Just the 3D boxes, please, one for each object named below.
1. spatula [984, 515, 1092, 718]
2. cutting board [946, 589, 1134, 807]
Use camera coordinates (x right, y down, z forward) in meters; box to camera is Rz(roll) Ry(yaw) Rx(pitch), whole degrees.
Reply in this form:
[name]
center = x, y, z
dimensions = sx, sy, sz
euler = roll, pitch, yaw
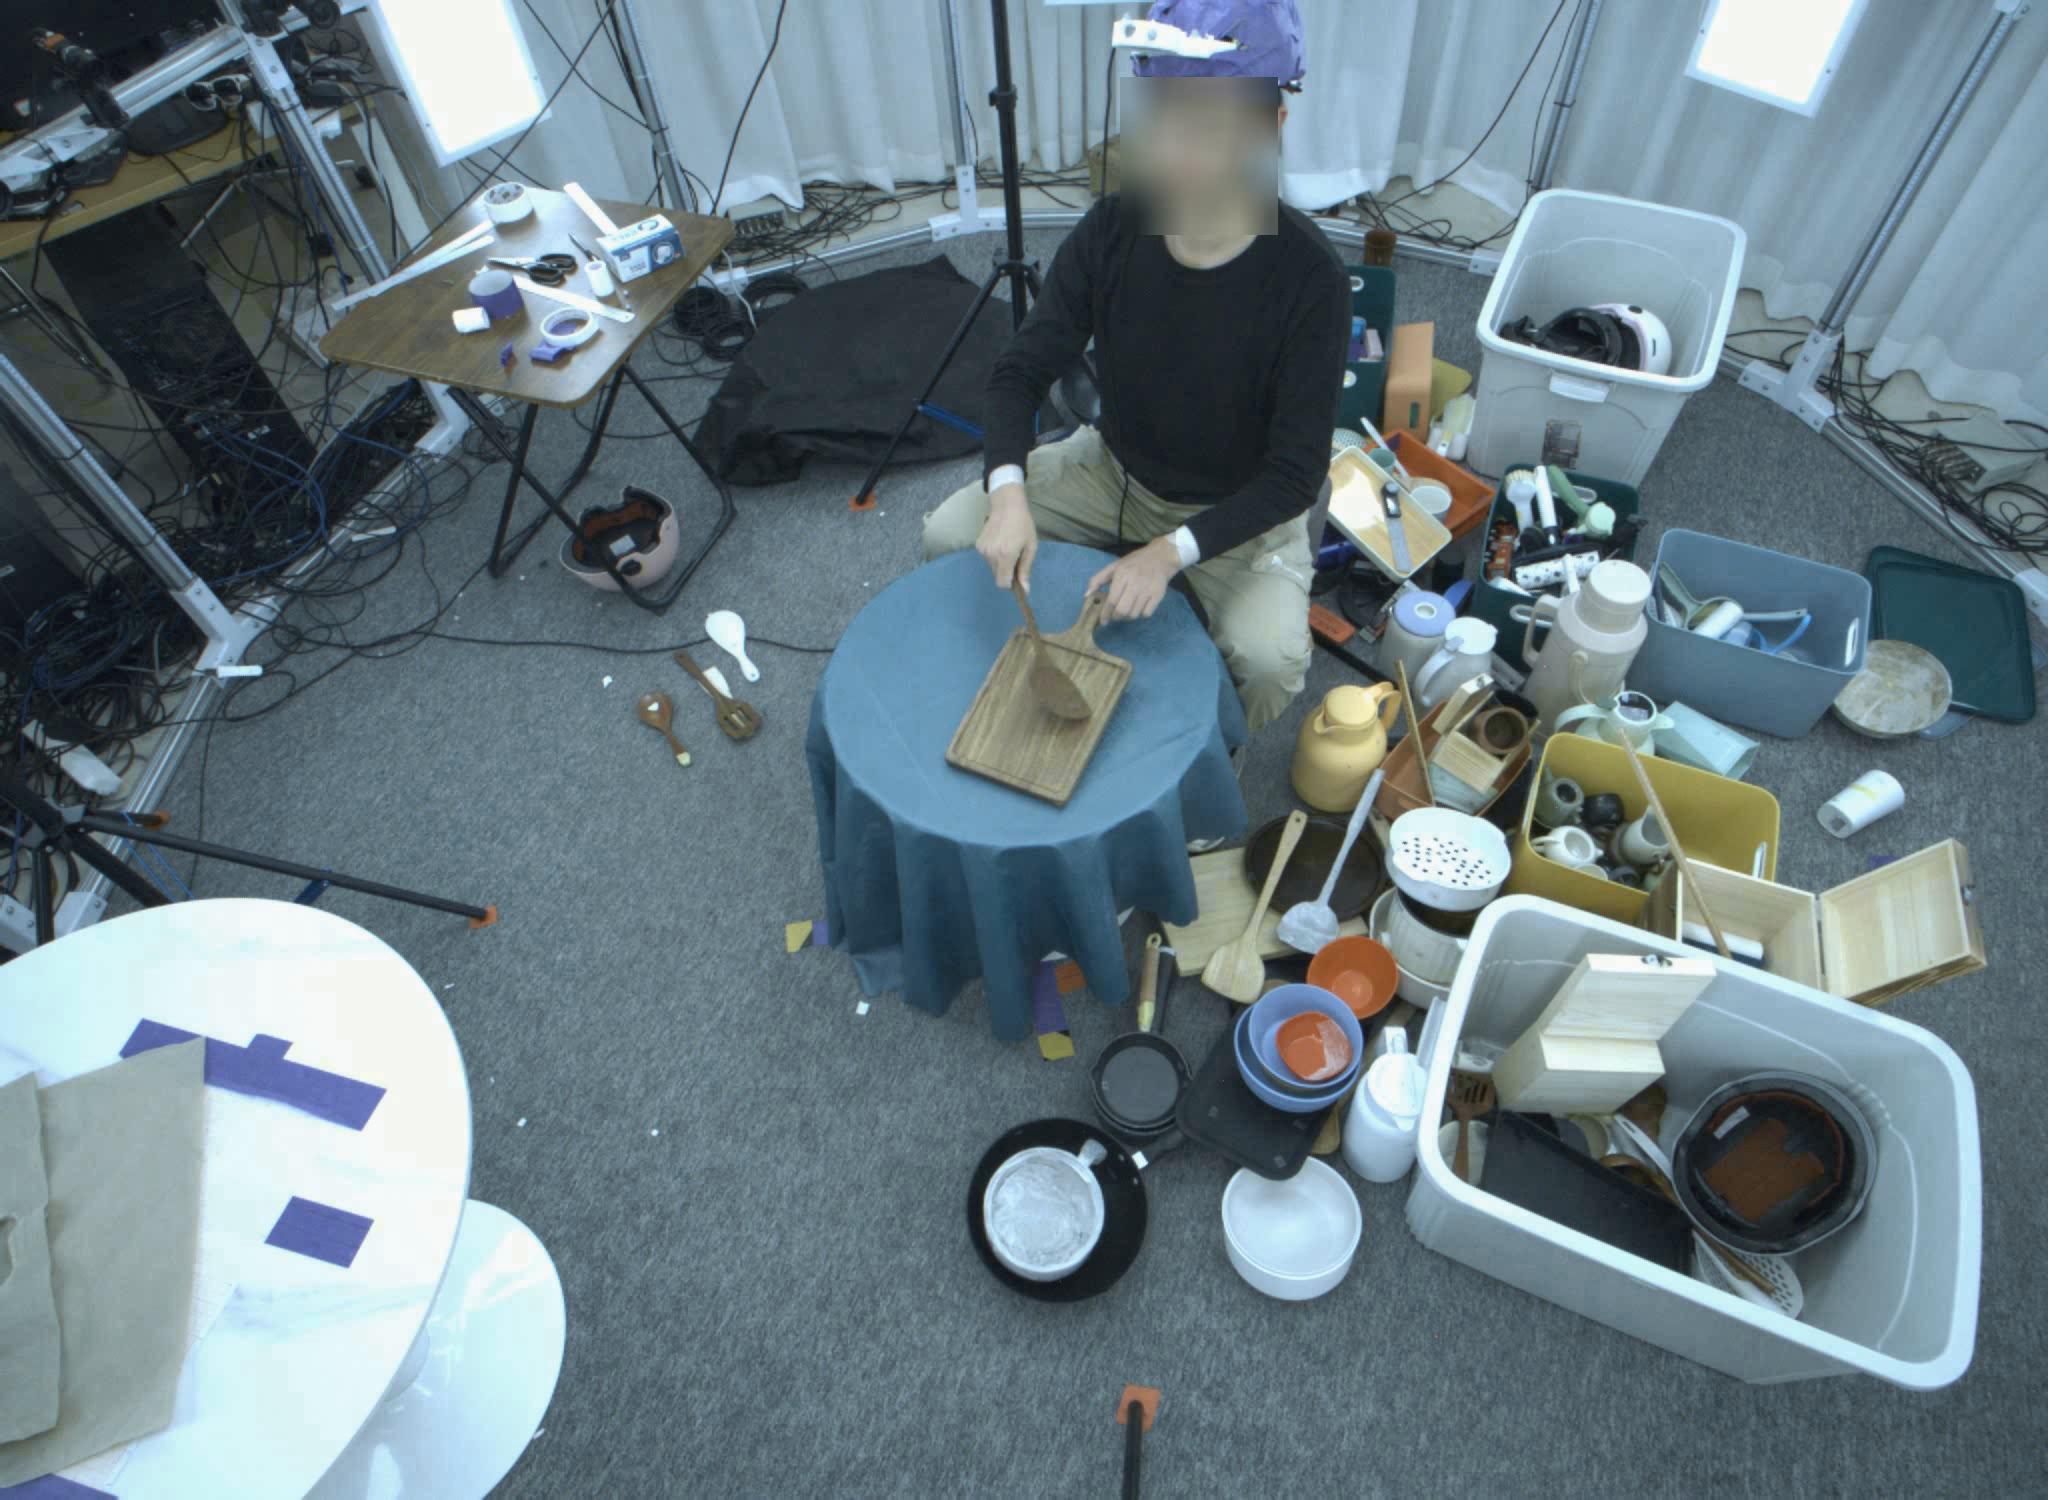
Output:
[spatula]
center = 0.005, -0.206, 1.817
dimensions = 0.098, 0.015, 0.380
euler = 4, 55, -42
[cutting board]
center = 0.045, -0.095, 1.810
dimensions = 0.198, 0.023, 0.352
euler = 20, 66, 15
